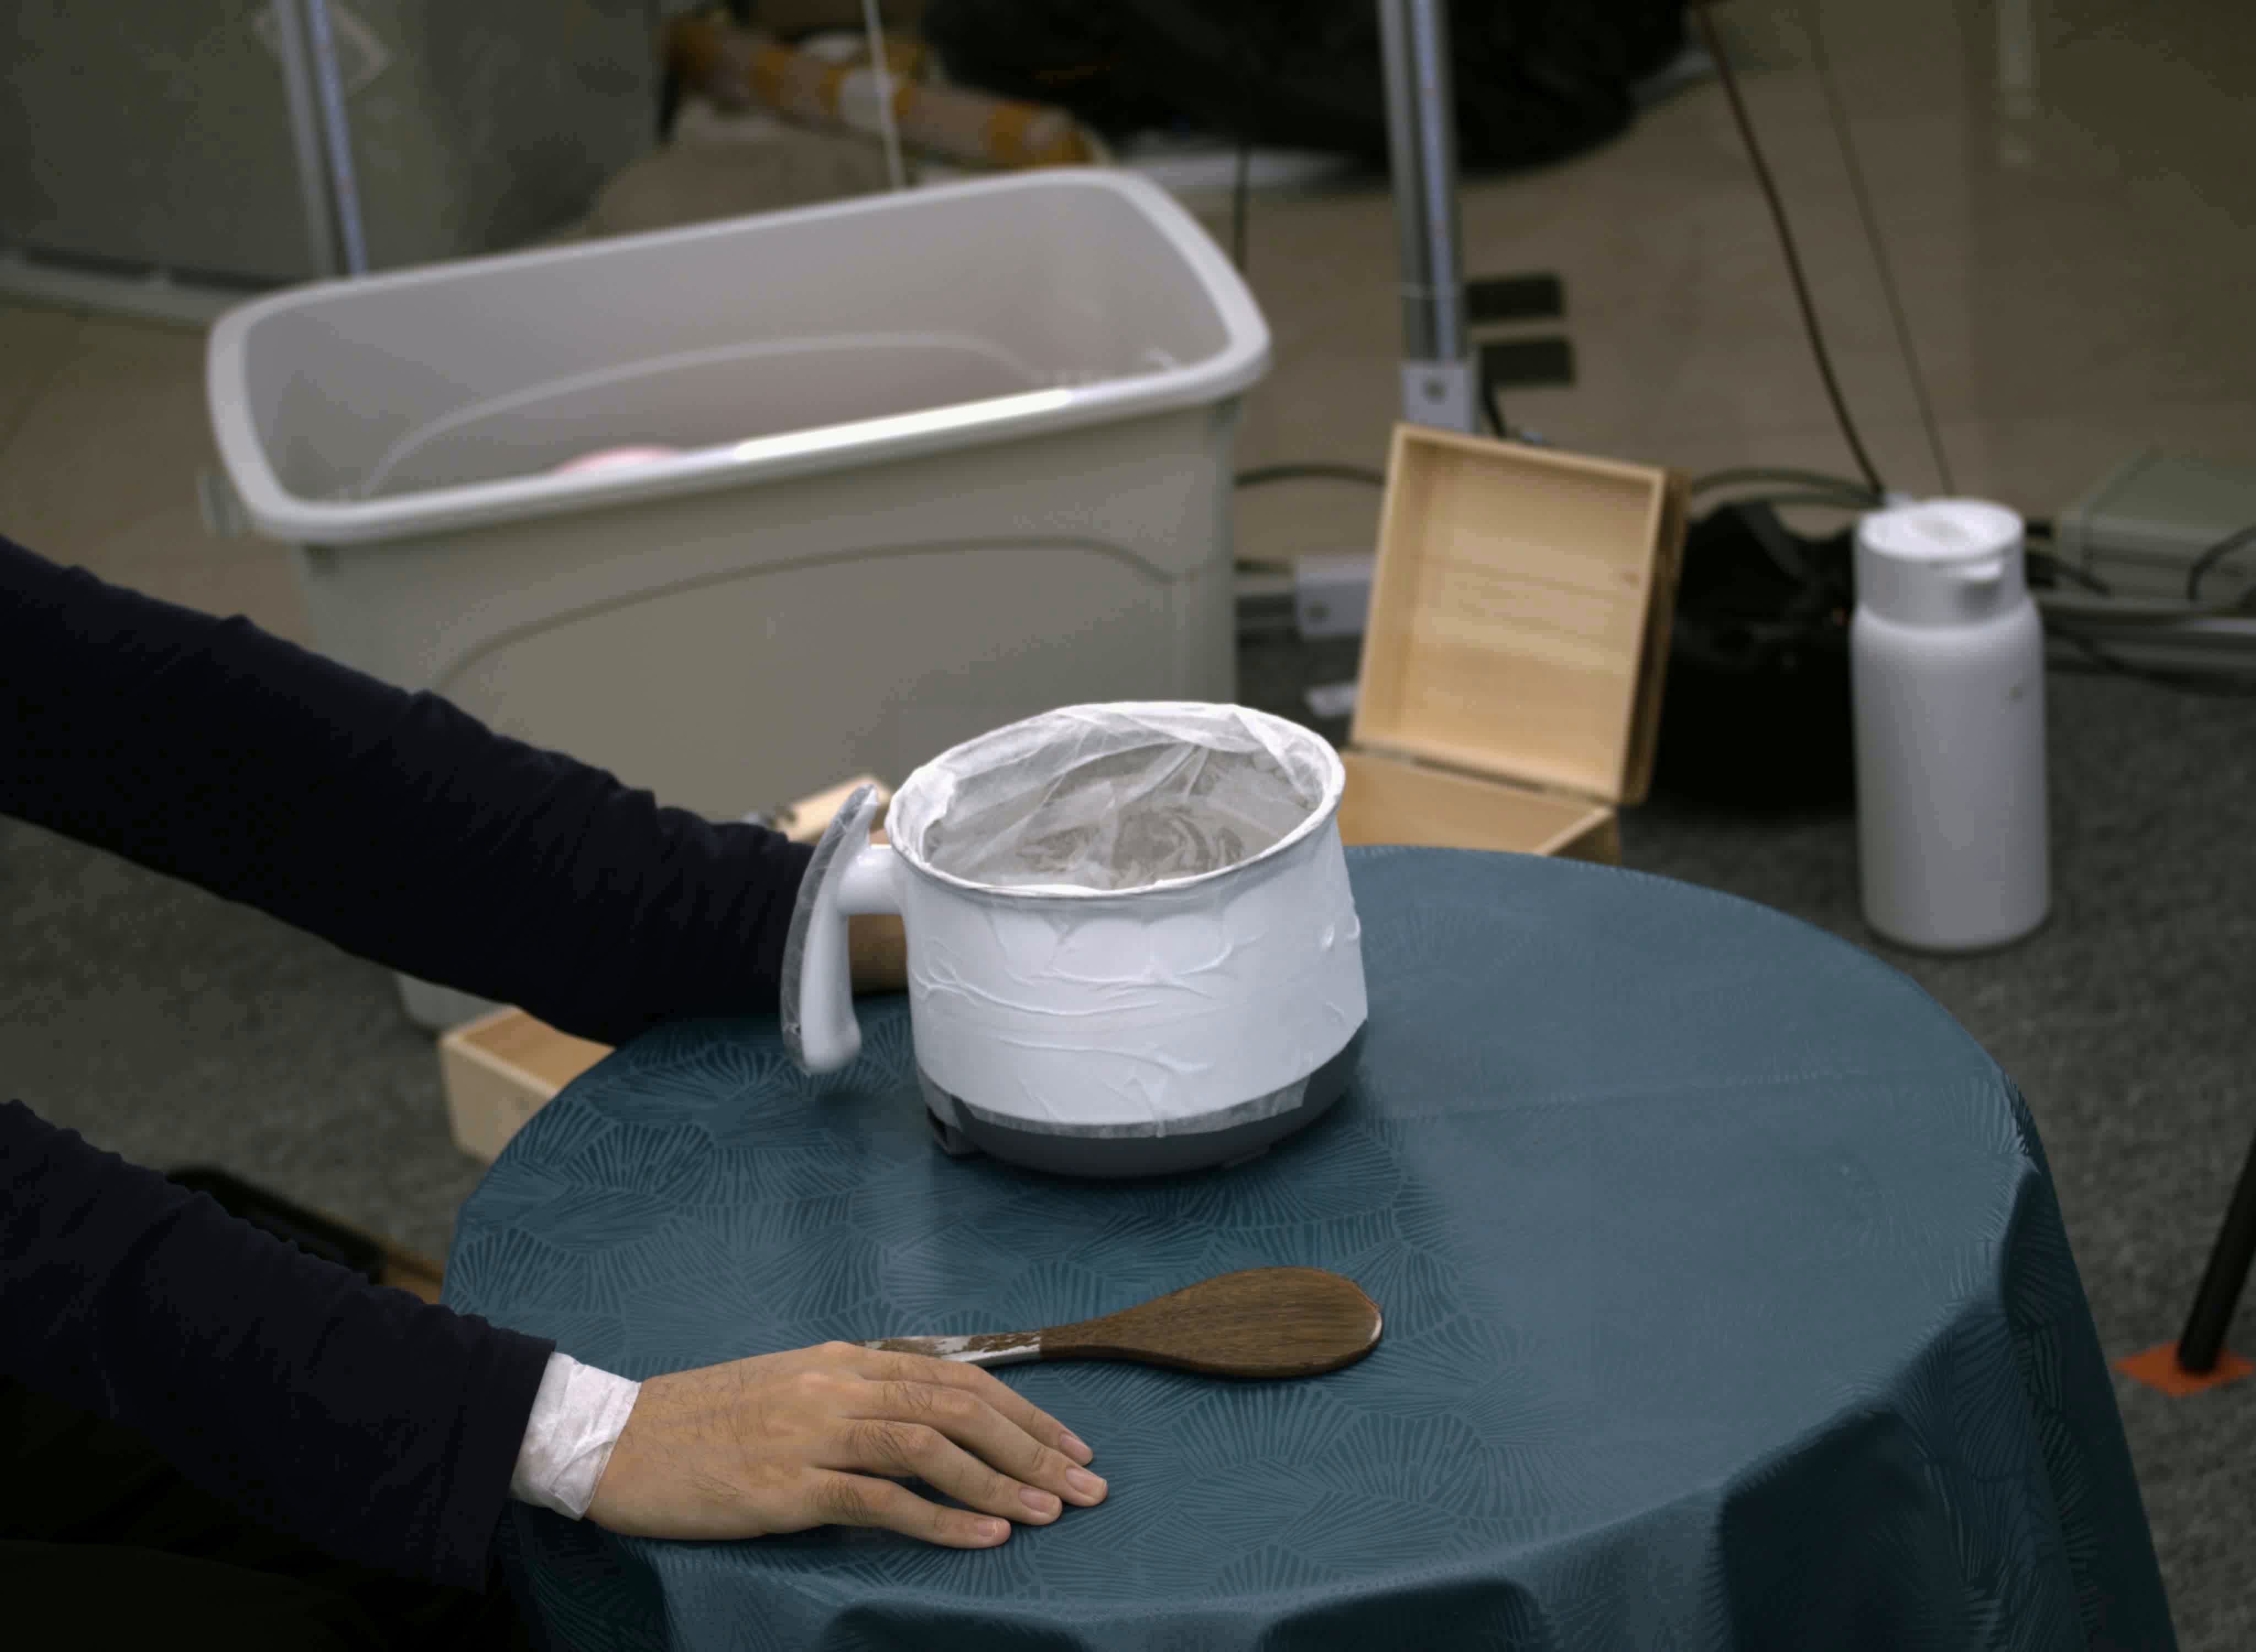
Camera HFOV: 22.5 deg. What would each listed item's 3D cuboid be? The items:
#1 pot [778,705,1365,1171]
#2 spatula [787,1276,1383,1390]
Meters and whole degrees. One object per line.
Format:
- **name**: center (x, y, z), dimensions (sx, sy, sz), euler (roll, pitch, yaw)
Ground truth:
- **pot**: center (-0.025, 0.044, 2.193), dimensions (0.233, 0.138, 0.176), euler (0, 23, 12)
- **spatula**: center (-0.016, 0.187, 2.045), dimensions (0.215, 0.009, 0.071), euler (-6, 23, 3)
